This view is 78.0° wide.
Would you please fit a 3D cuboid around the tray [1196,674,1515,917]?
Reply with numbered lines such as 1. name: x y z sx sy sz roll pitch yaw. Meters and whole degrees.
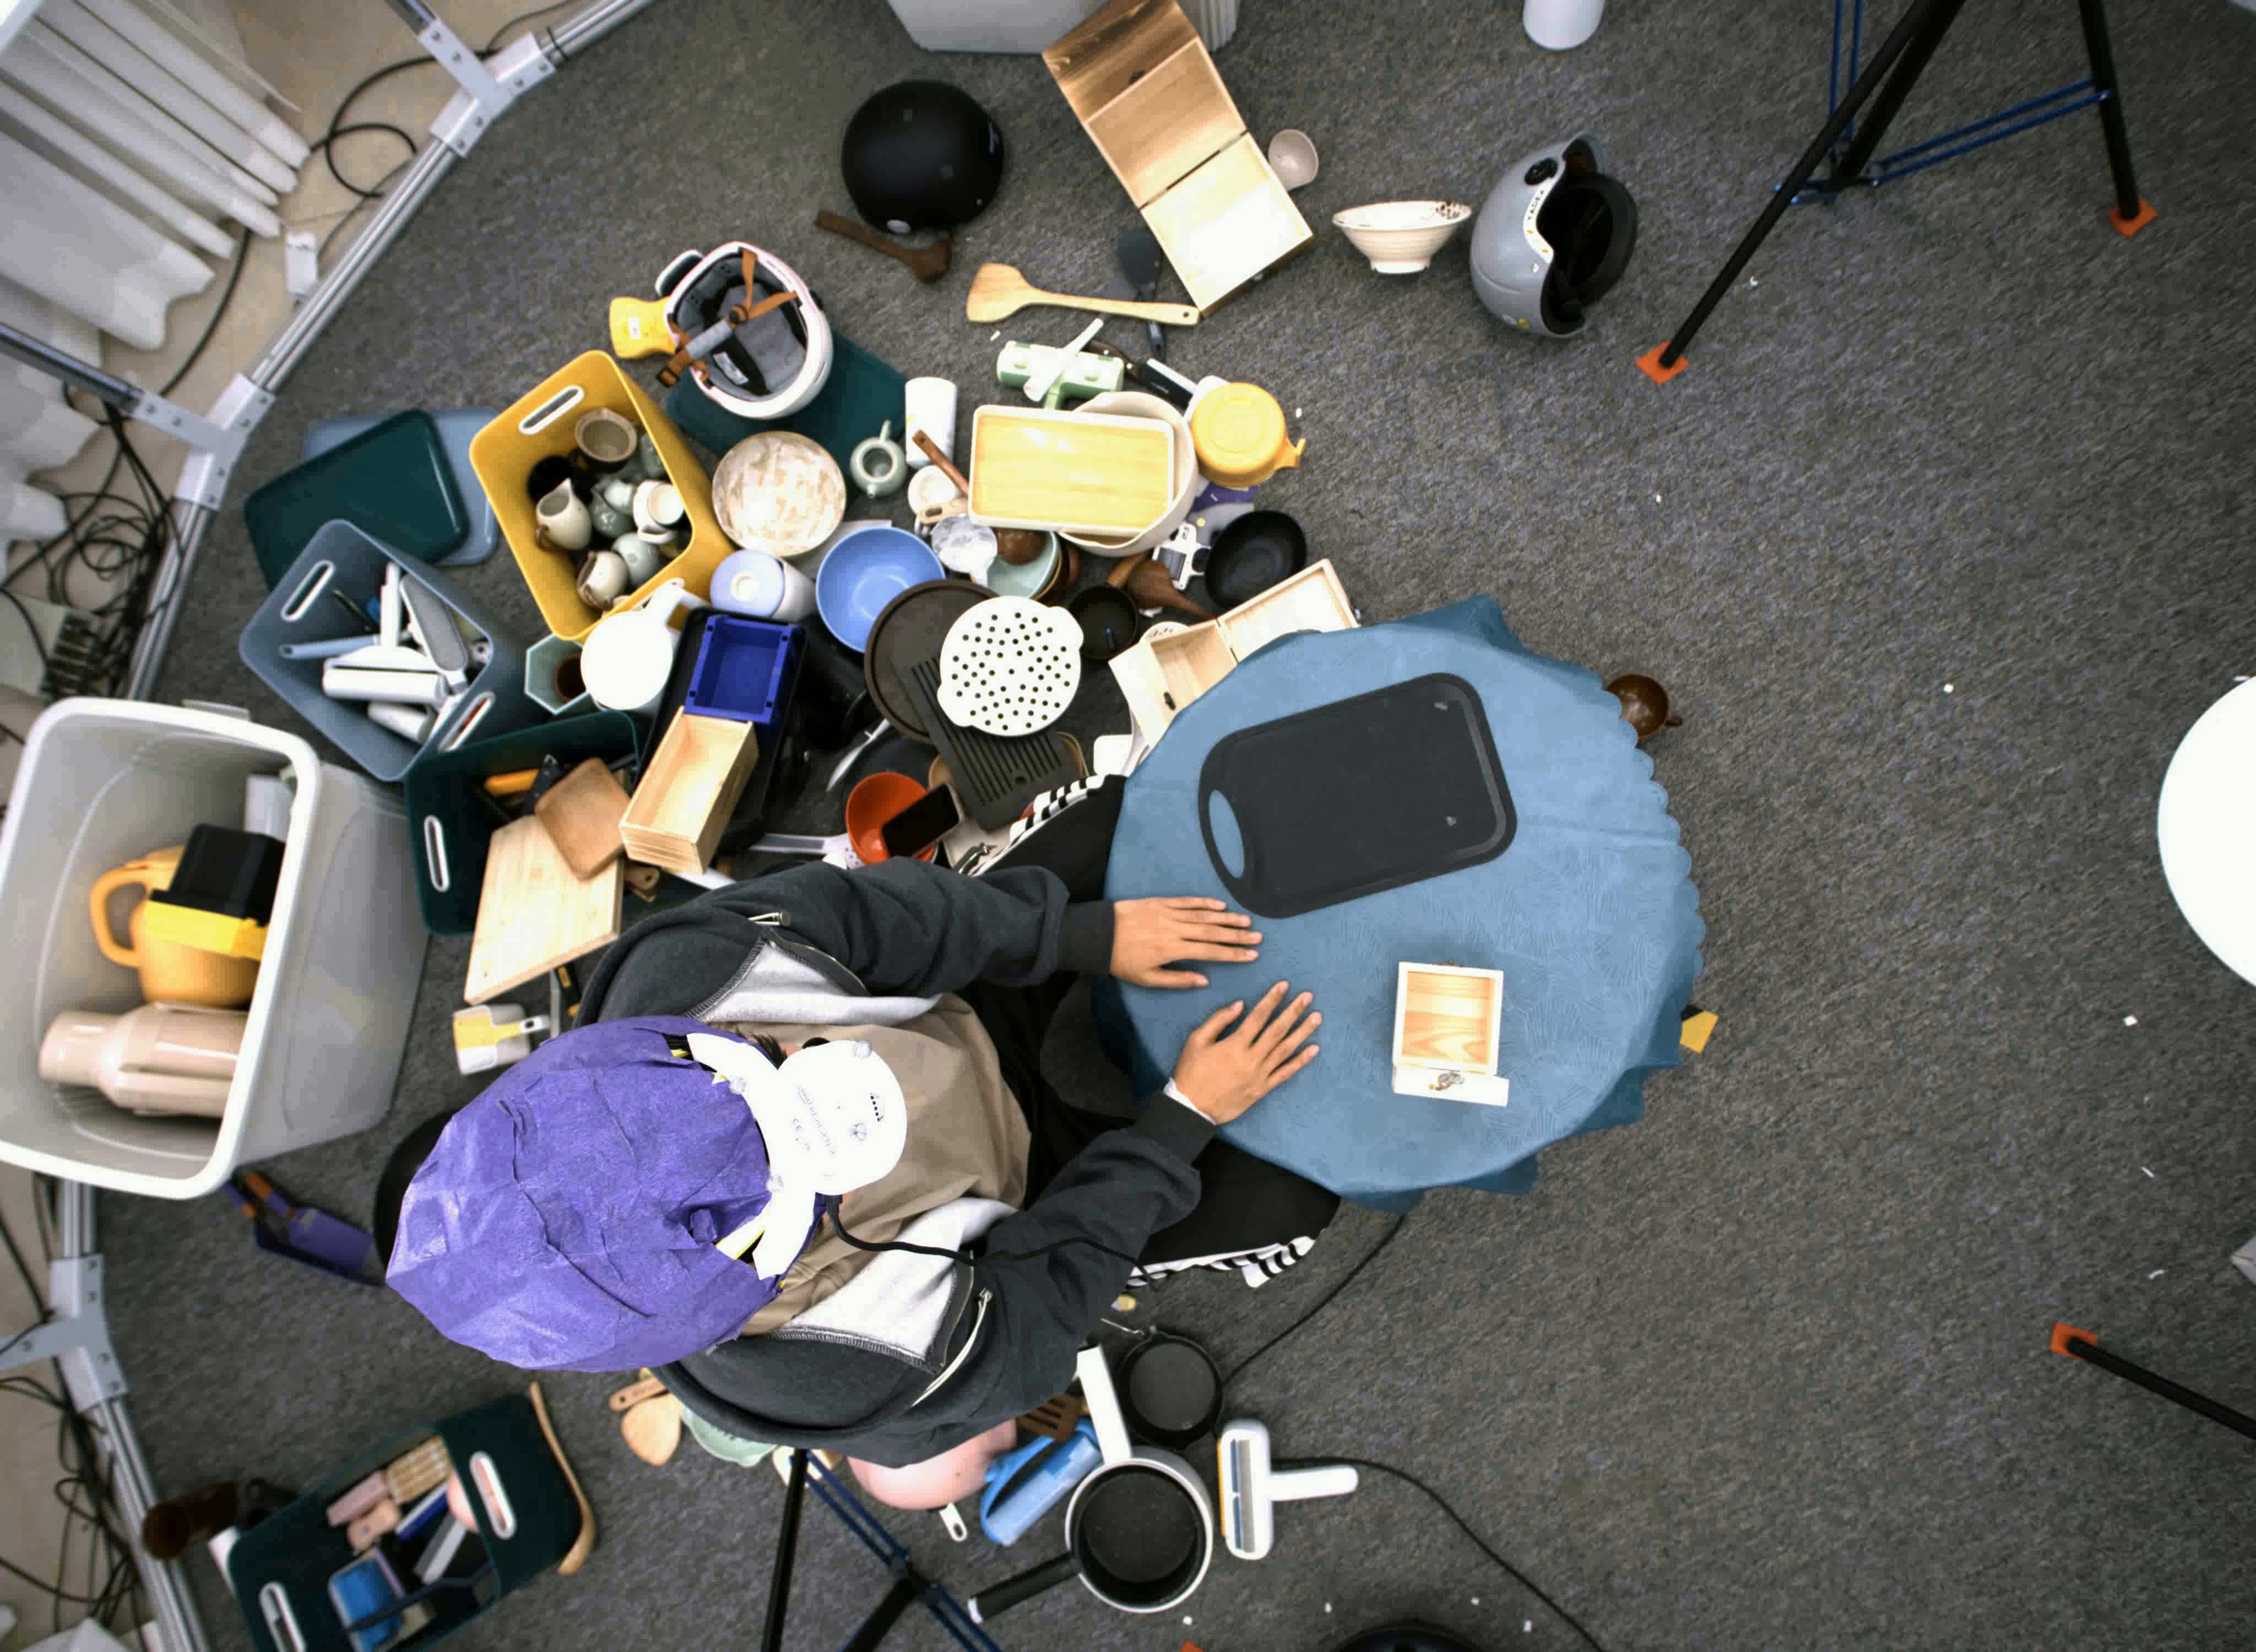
1. tray: 0.235 -0.030 1.468 0.327 0.010 0.210 -16 84 9

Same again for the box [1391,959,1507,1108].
1. box: 0.315 0.196 1.350 0.103 0.184 0.133 4 87 10
